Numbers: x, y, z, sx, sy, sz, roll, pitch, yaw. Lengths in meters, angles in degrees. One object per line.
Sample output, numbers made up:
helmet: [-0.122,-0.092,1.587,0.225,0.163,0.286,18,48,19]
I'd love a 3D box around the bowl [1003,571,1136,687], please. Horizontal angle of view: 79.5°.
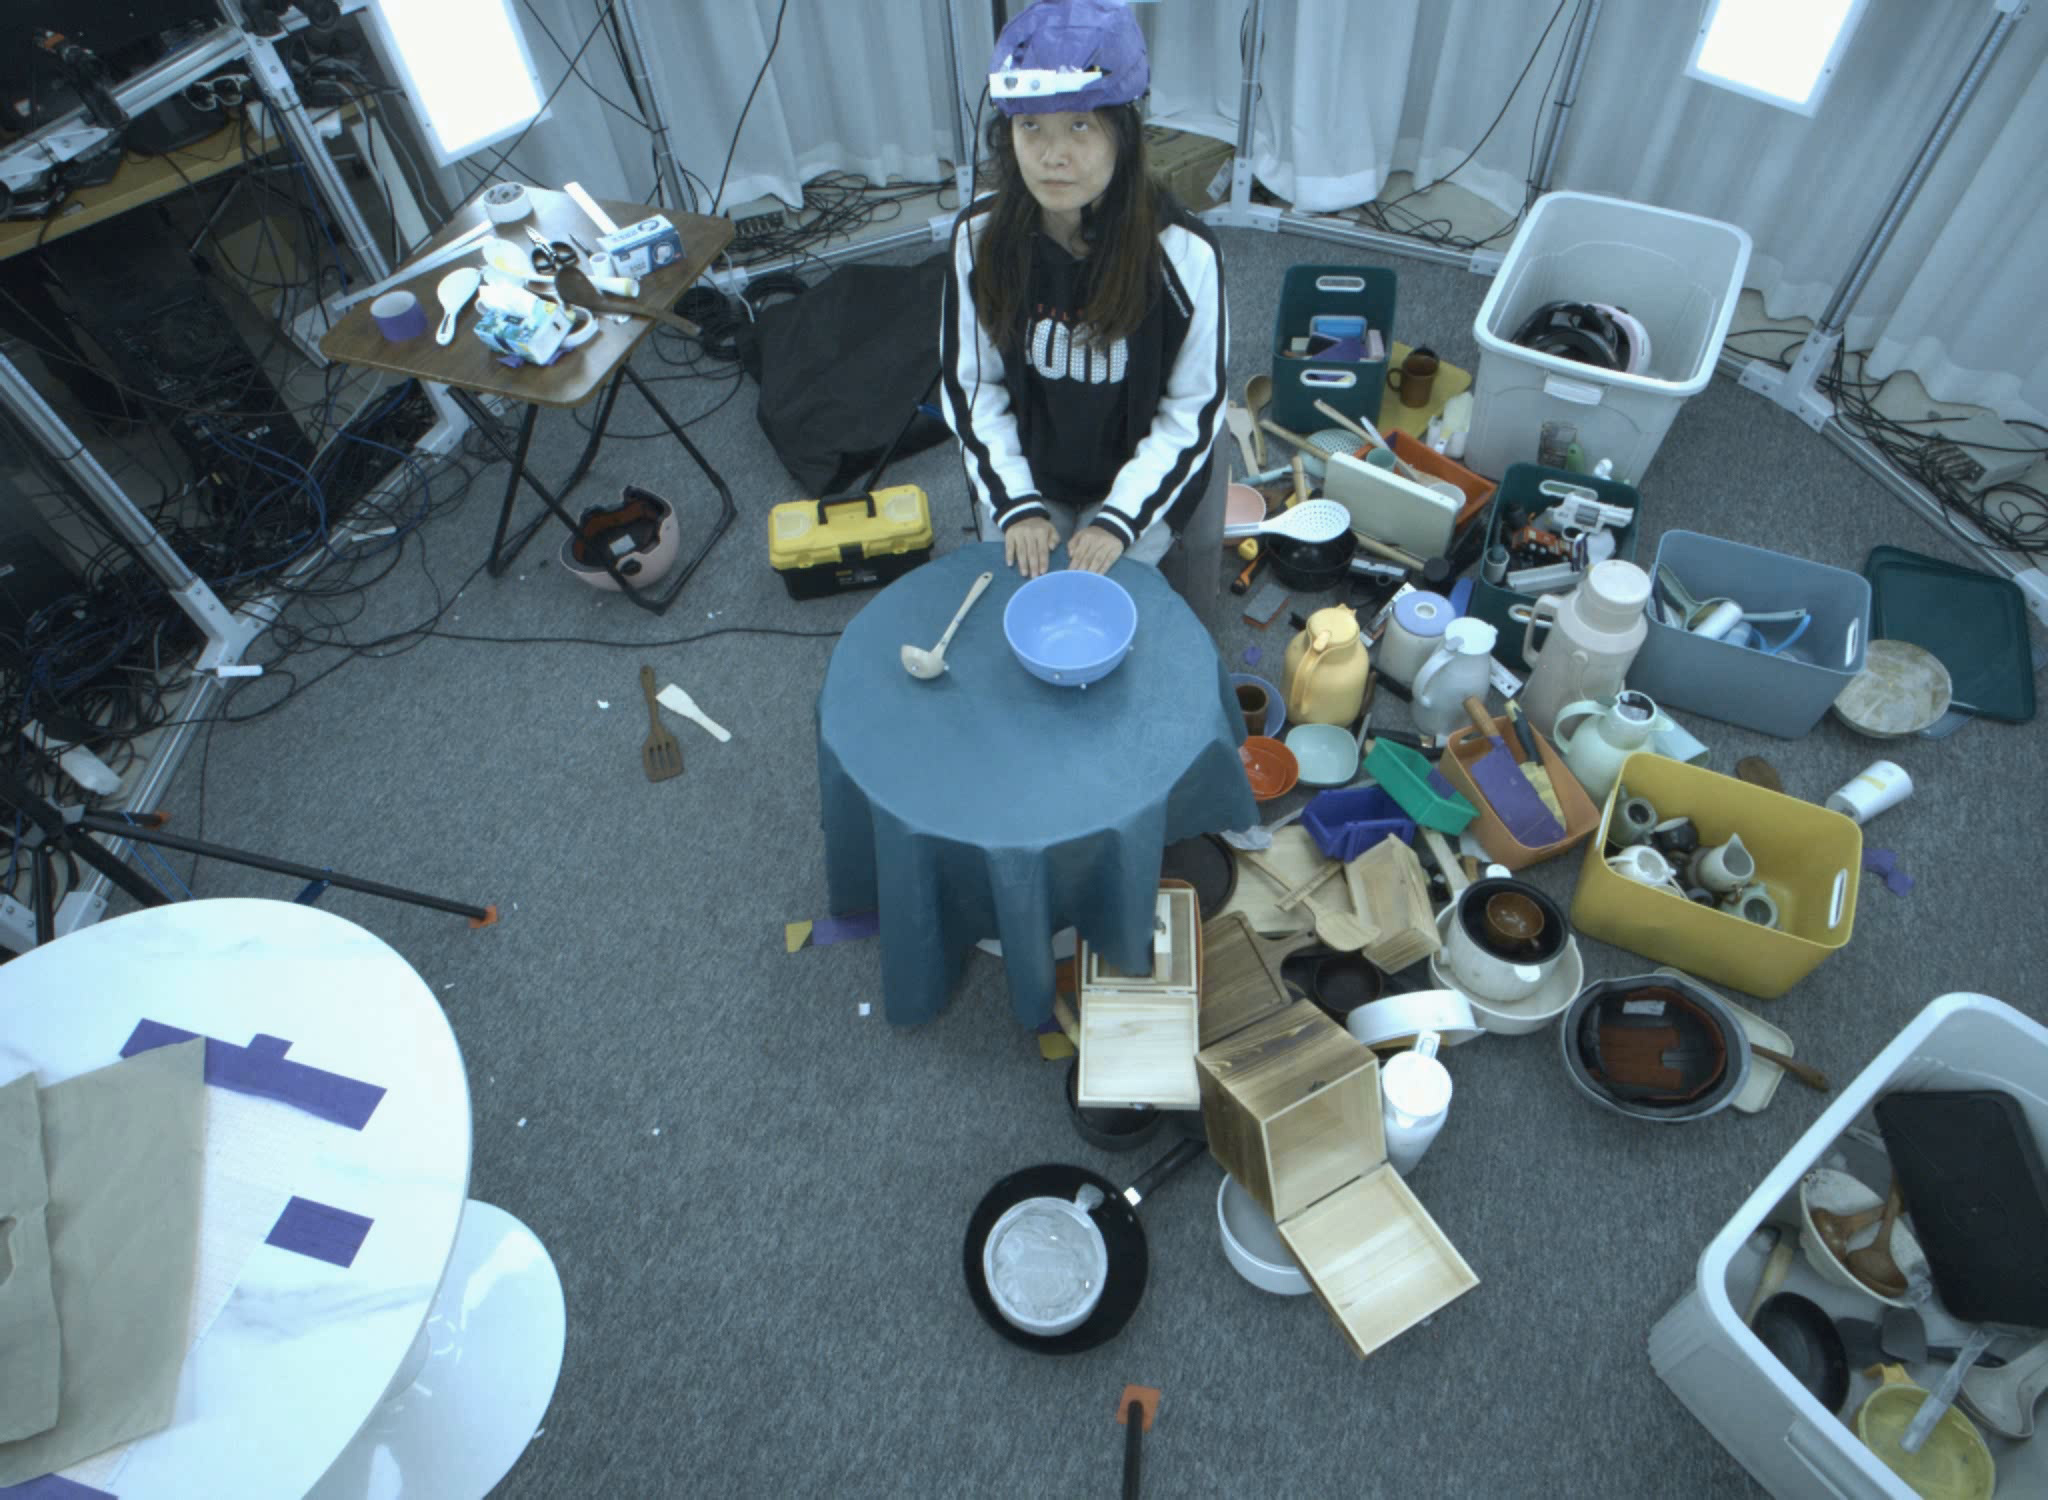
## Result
bowl: [0.070,-0.166,1.849,0.196,0.096,0.194,-1,54,3]

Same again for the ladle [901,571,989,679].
ladle: [-0.113,-0.215,1.899,0.071,0.073,0.254,18,57,14]
